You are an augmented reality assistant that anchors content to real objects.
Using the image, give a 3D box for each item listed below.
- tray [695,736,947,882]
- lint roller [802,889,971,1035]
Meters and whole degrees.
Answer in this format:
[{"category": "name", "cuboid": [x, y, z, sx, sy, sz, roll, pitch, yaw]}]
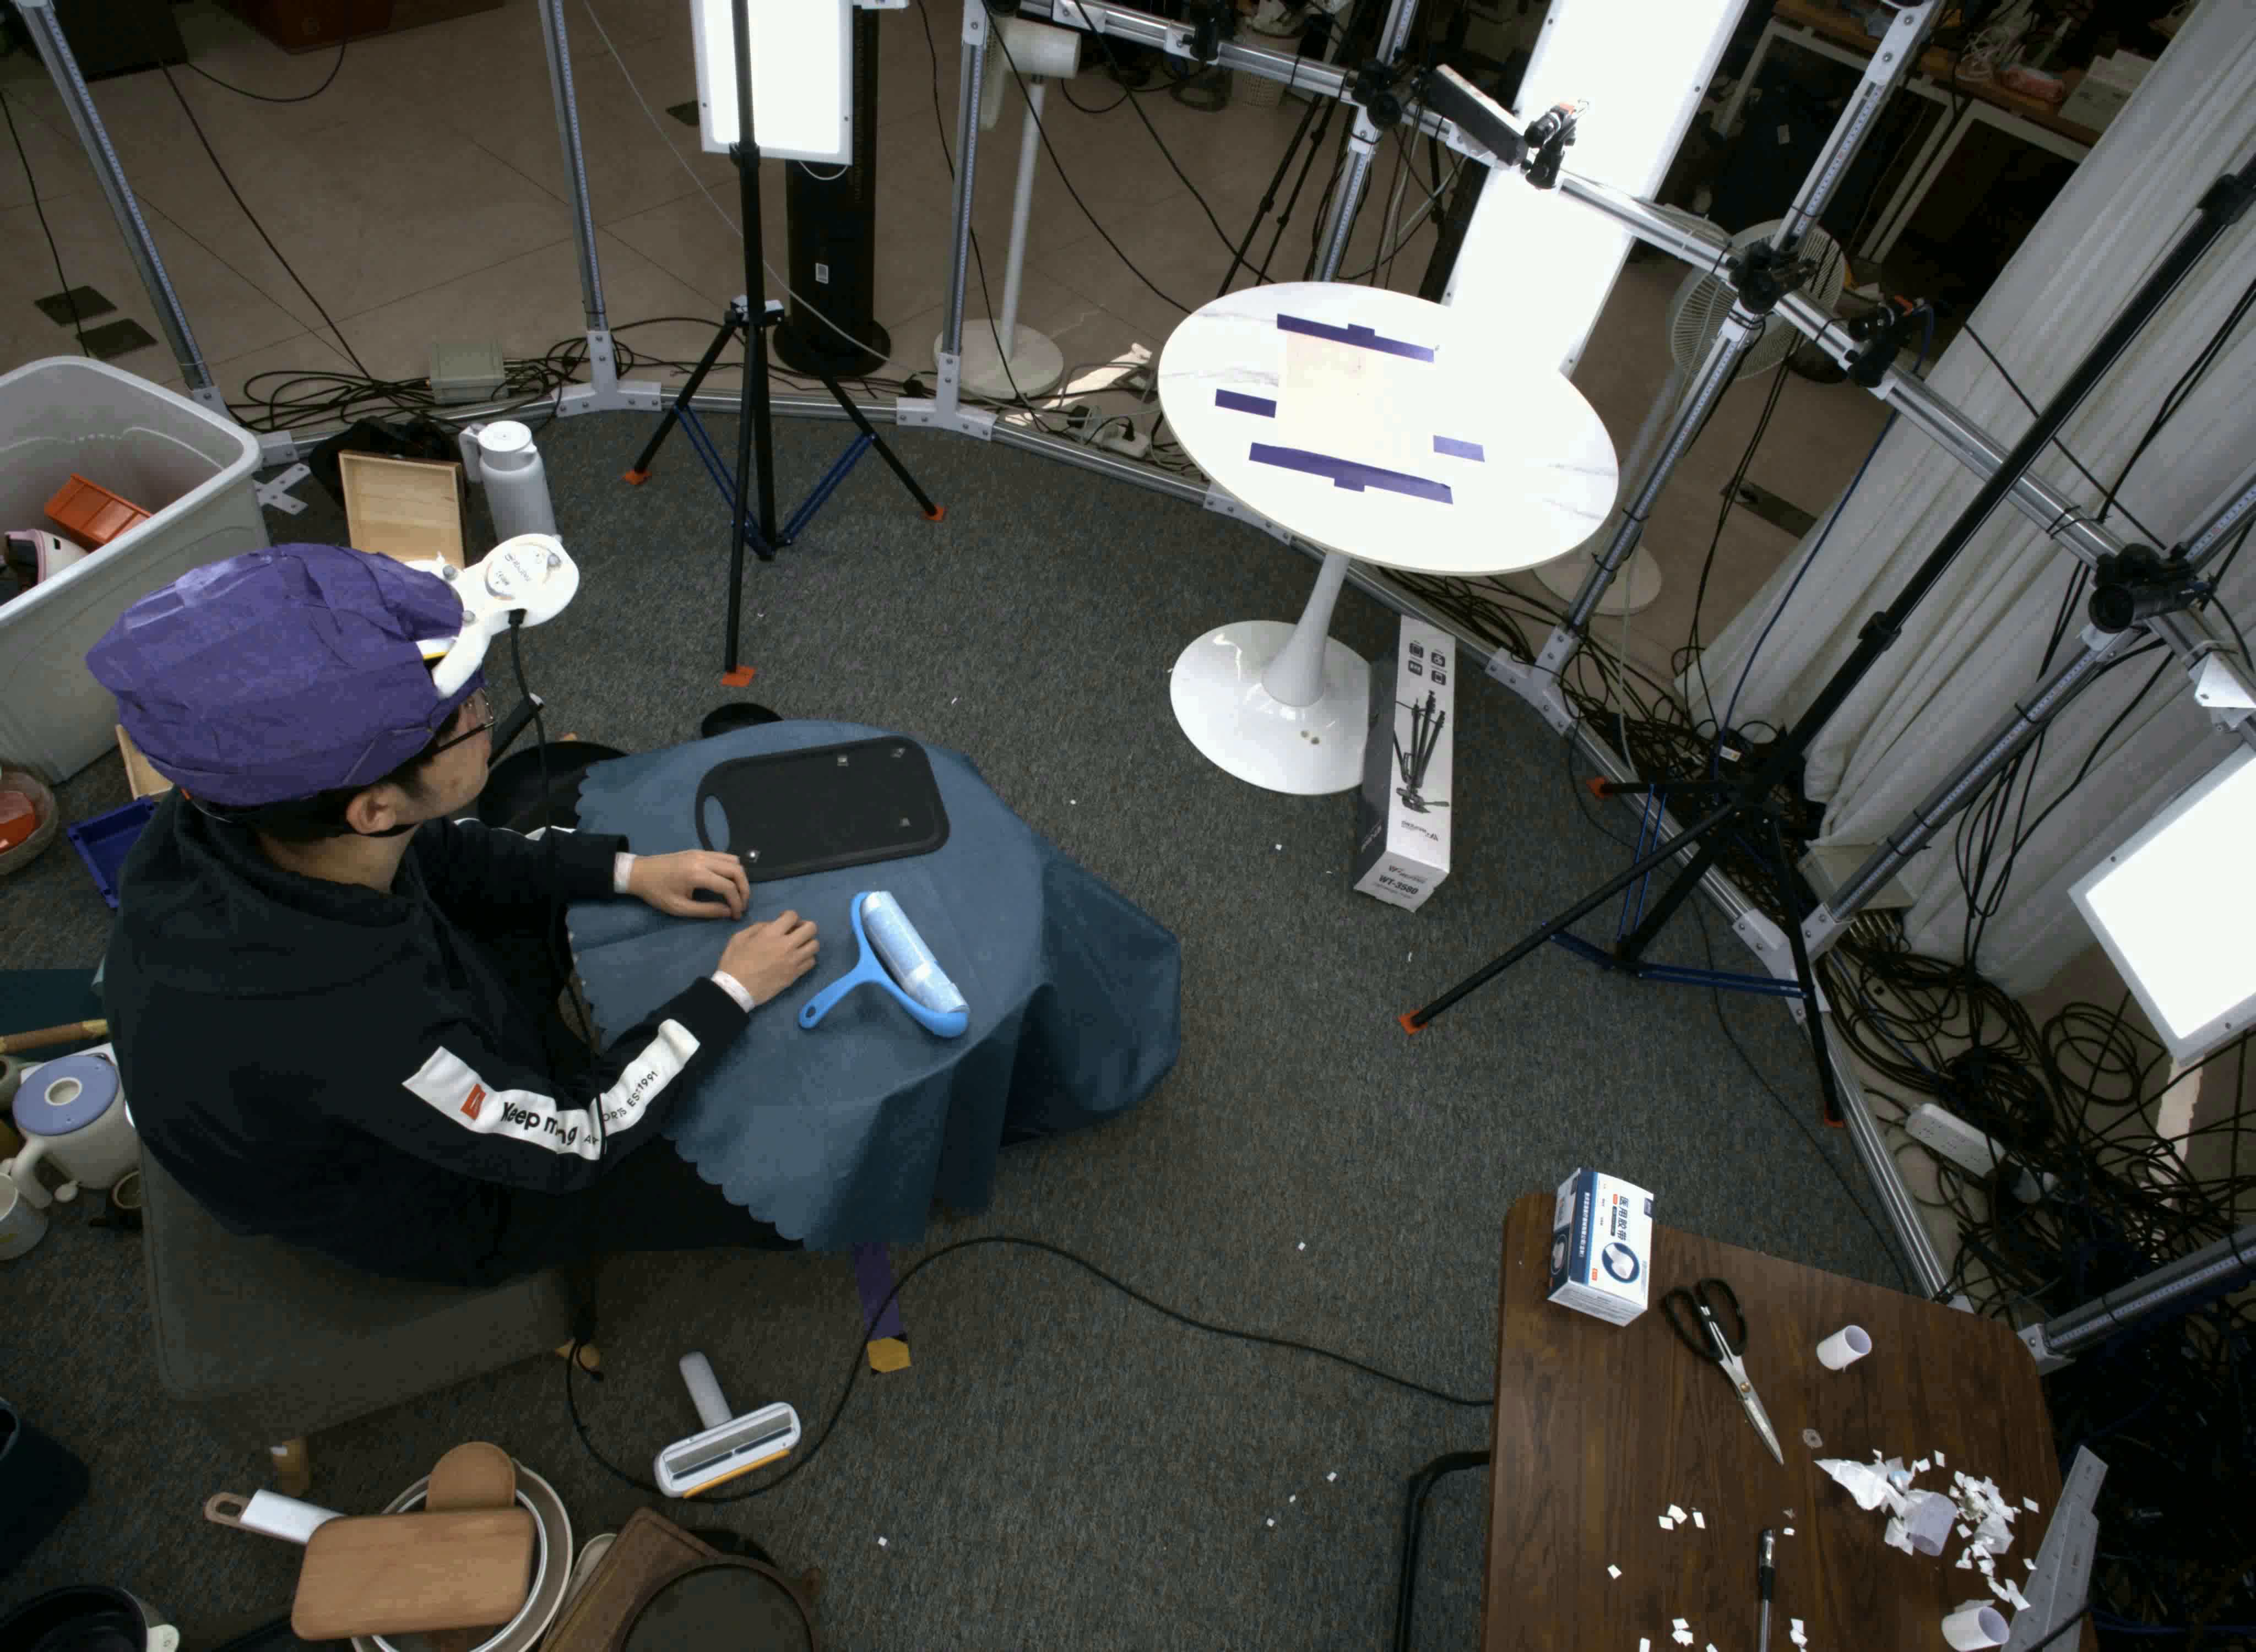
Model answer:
[{"category": "tray", "cuboid": [-0.416, -0.028, 1.748, 0.327, 0.010, 0.206, -10, 57, -21]}, {"category": "lint roller", "cuboid": [-0.314, 0.188, 1.584, 0.181, 0.069, 0.224, -28, 67, -32]}]
